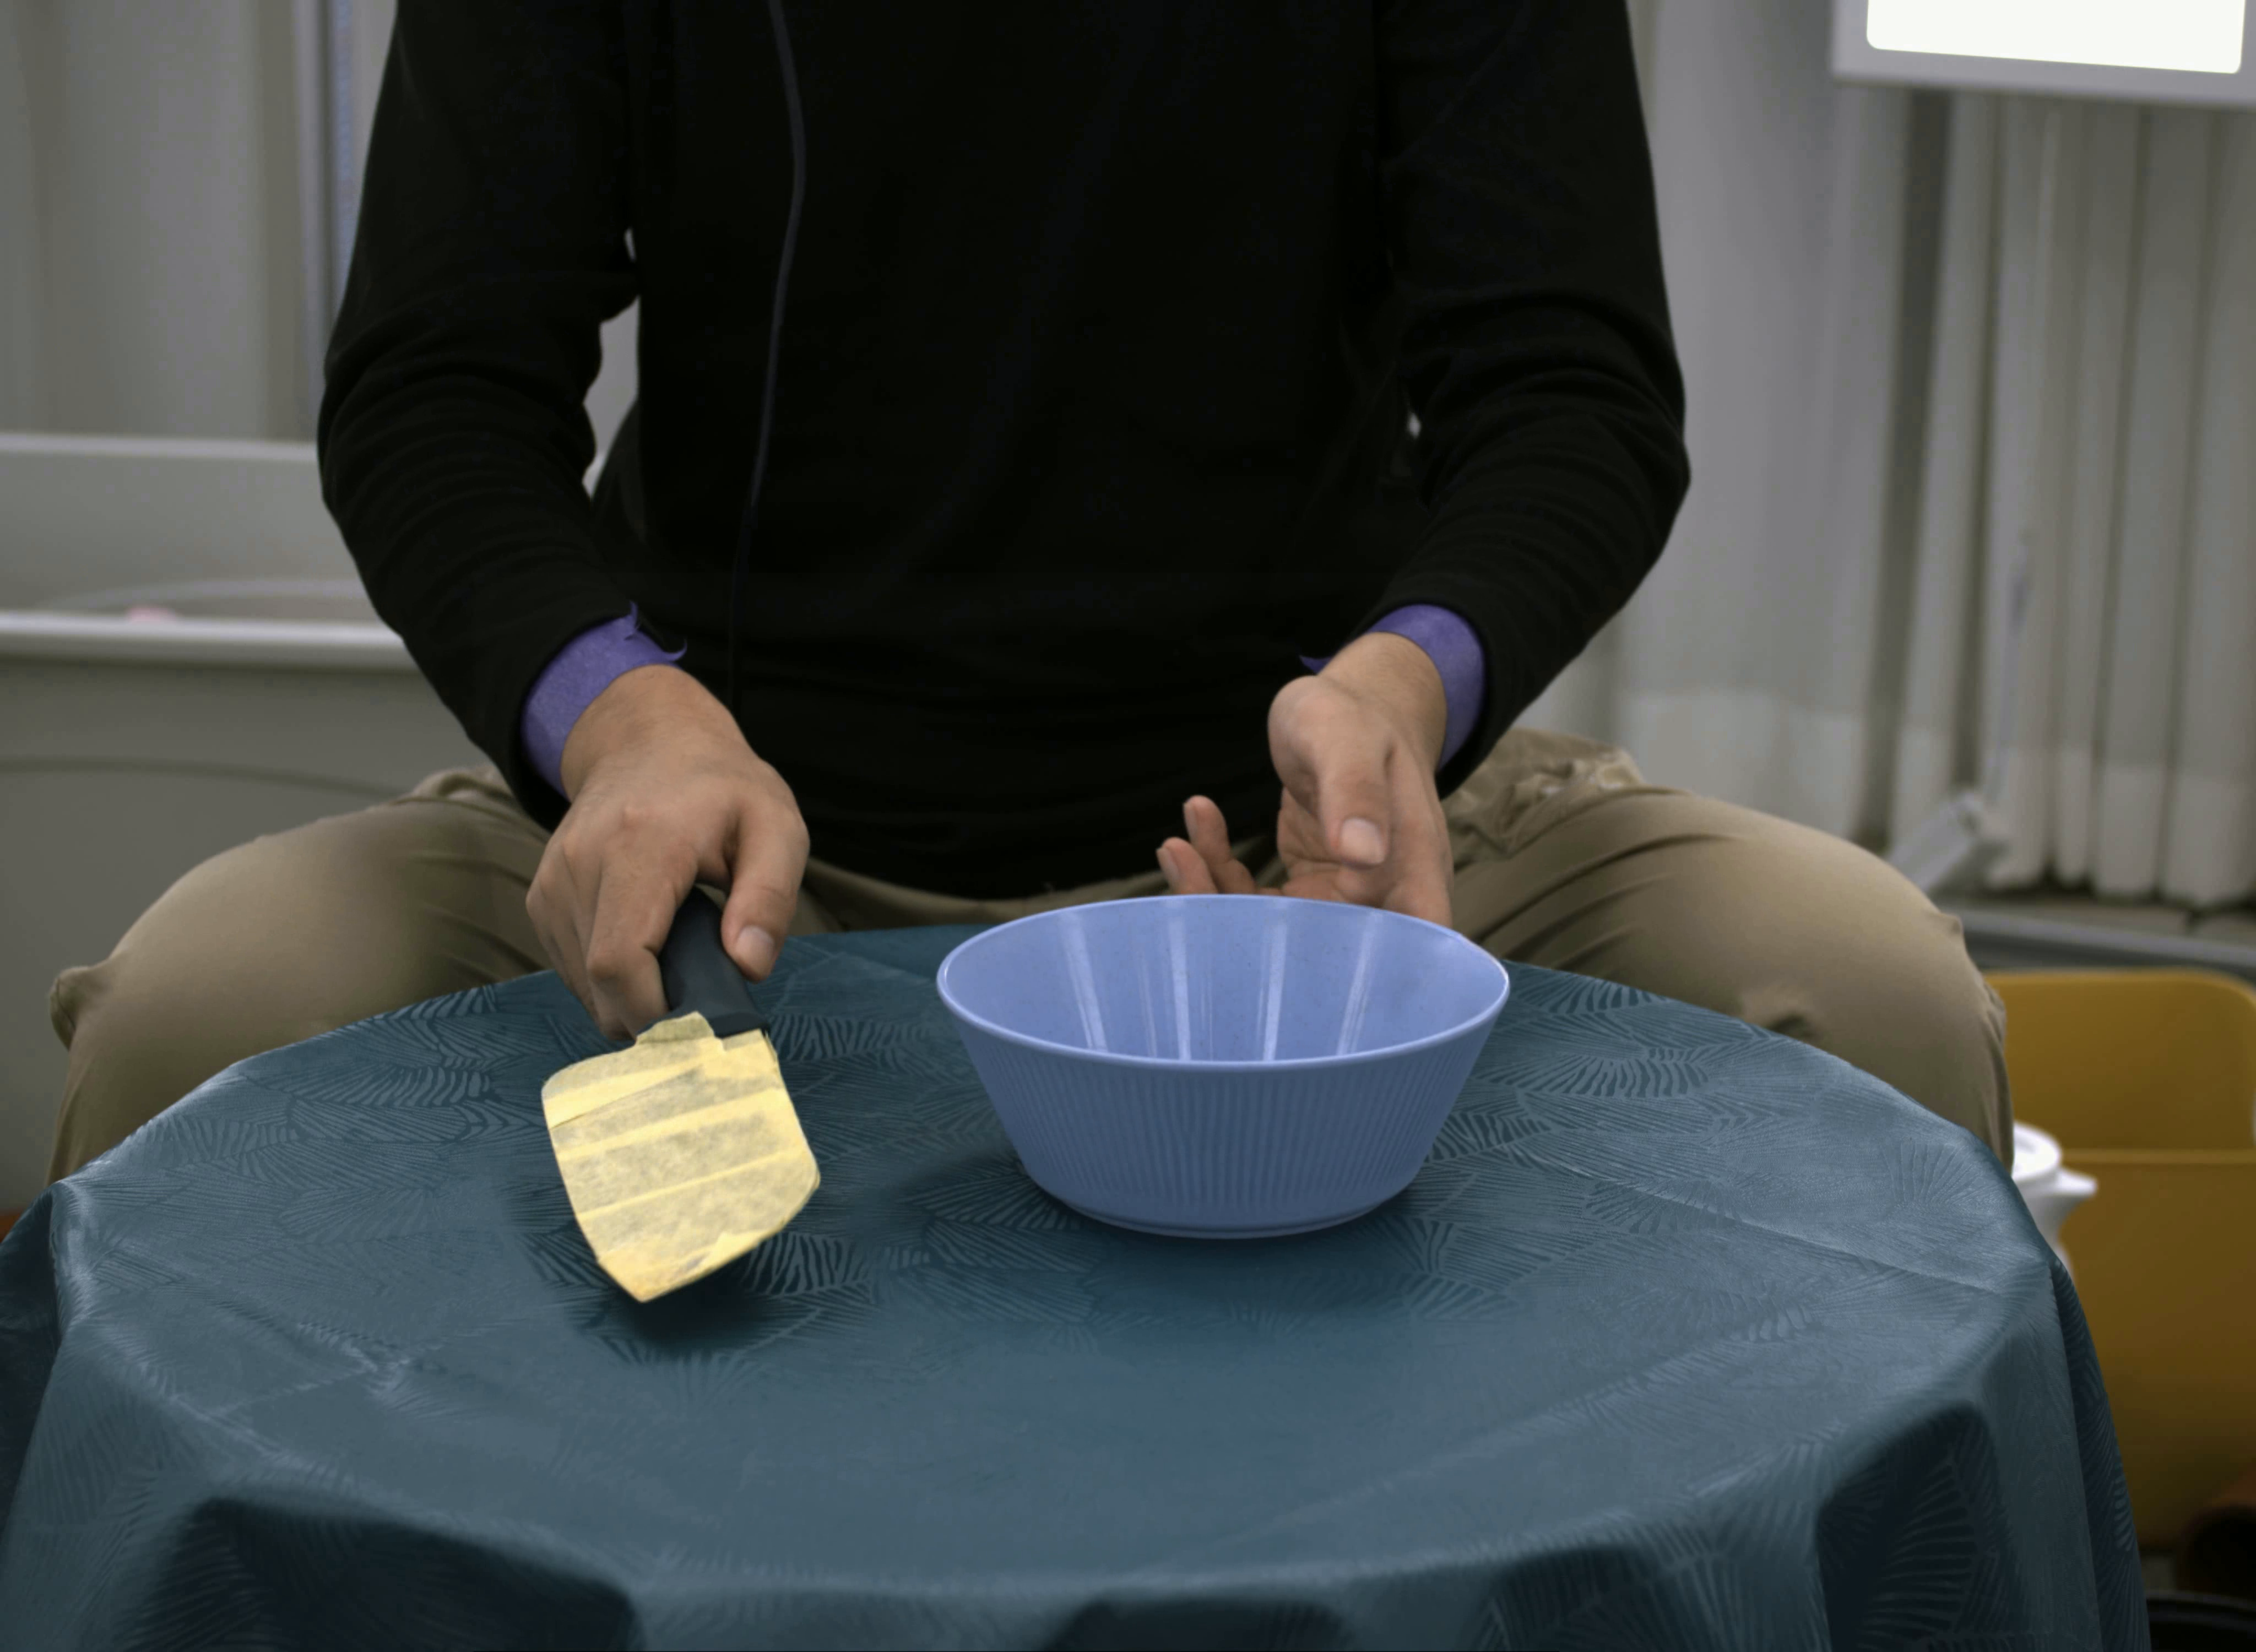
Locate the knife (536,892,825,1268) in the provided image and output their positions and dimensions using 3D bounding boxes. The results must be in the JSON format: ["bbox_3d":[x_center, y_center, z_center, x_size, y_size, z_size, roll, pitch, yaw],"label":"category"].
[{"bbox_3d":[-0.142,0.078,1.620,0.081,0.027,0.287,-13,20,-5],"label":"knife"}]

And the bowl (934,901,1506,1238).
[{"bbox_3d":[0.028,0.077,1.622,0.175,0.071,0.175,0,16,1],"label":"bowl"}]
